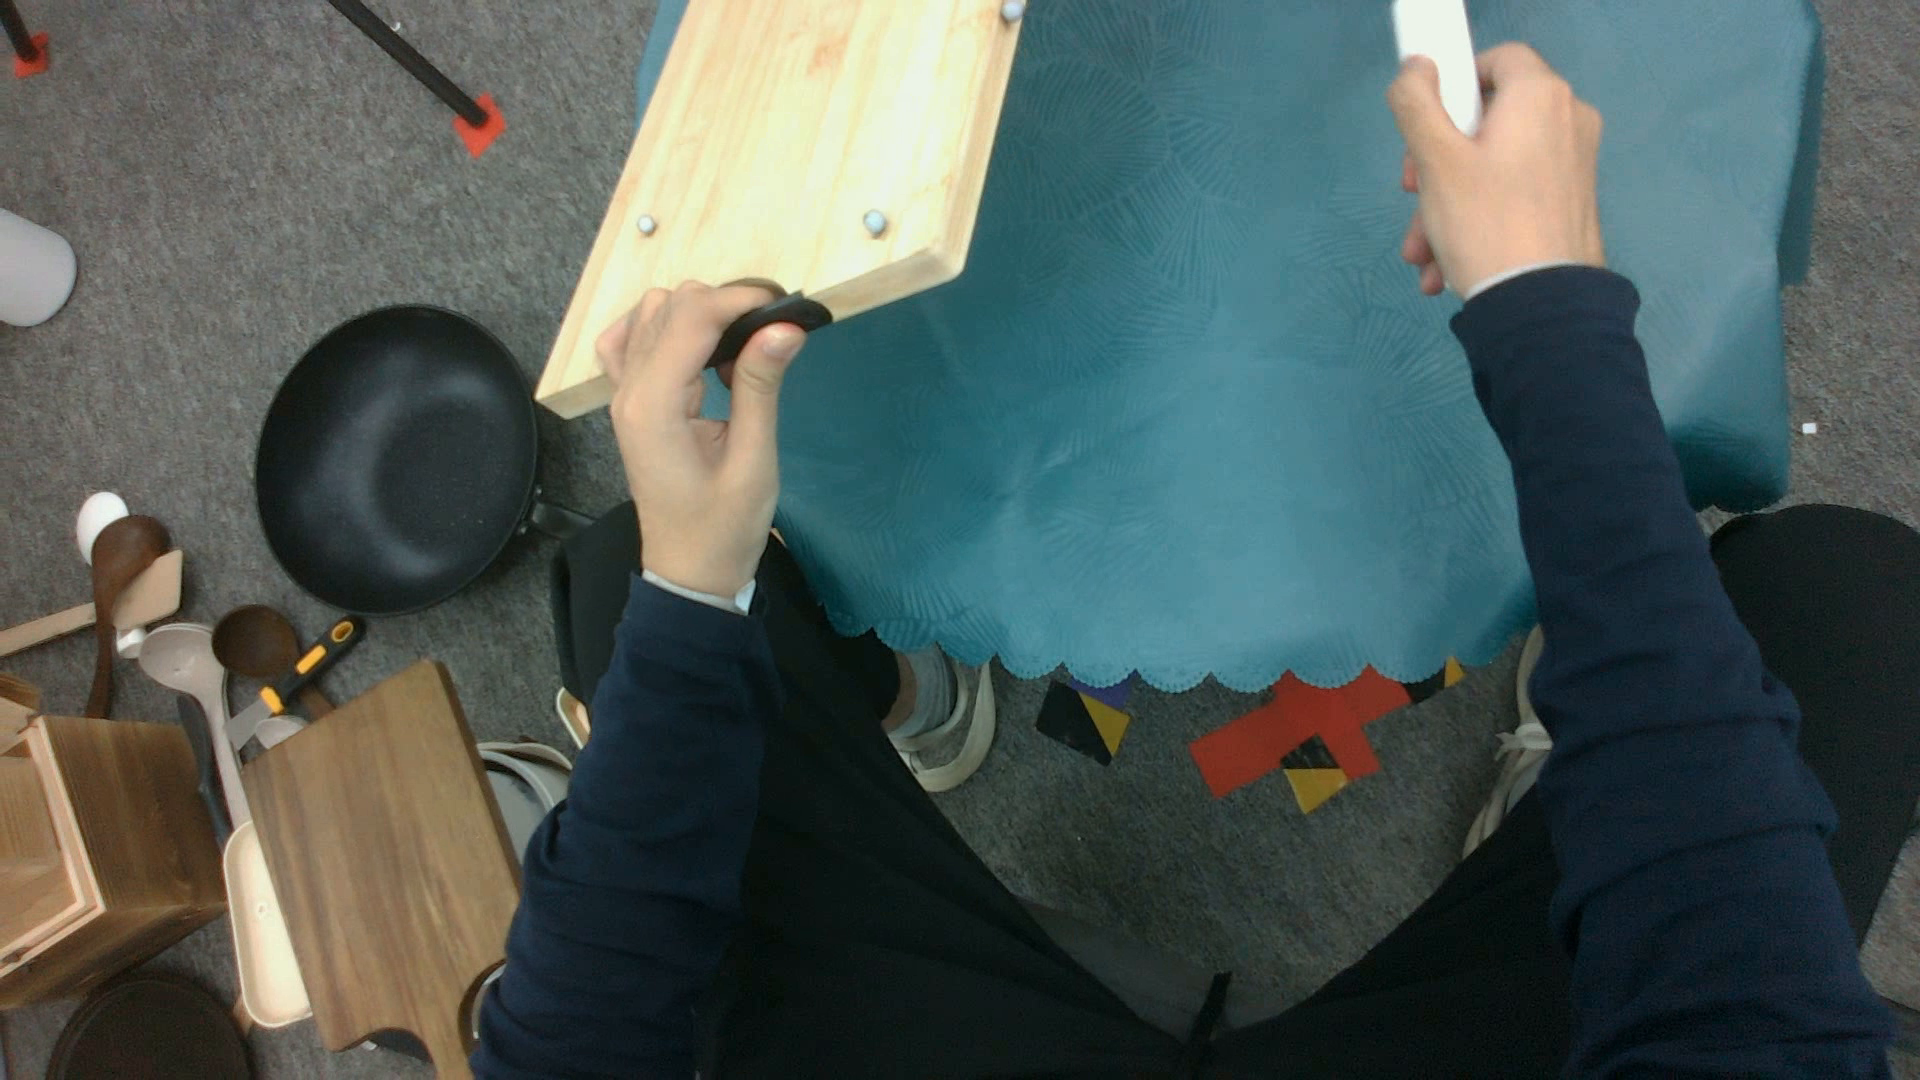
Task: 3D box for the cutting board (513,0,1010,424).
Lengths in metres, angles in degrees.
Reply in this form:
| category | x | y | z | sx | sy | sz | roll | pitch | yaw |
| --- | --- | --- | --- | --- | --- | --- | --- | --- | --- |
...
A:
| category | x | y | z | sx | sy | sz | roll | pitch | yaw |
| --- | --- | --- | --- | --- | --- | --- | --- | --- | --- |
| cutting board | -0.073 | -0.225 | 0.635 | 0.250 | 0.023 | 0.350 | -13 | 54 | 37 |

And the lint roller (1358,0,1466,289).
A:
| category | x | y | z | sx | sy | sz | roll | pitch | yaw |
| --- | --- | --- | --- | --- | --- | --- | --- | --- | --- |
| lint roller | 0.186 | -0.225 | 0.577 | 0.050 | 0.177 | 0.247 | -24 | 68 | 50 |
